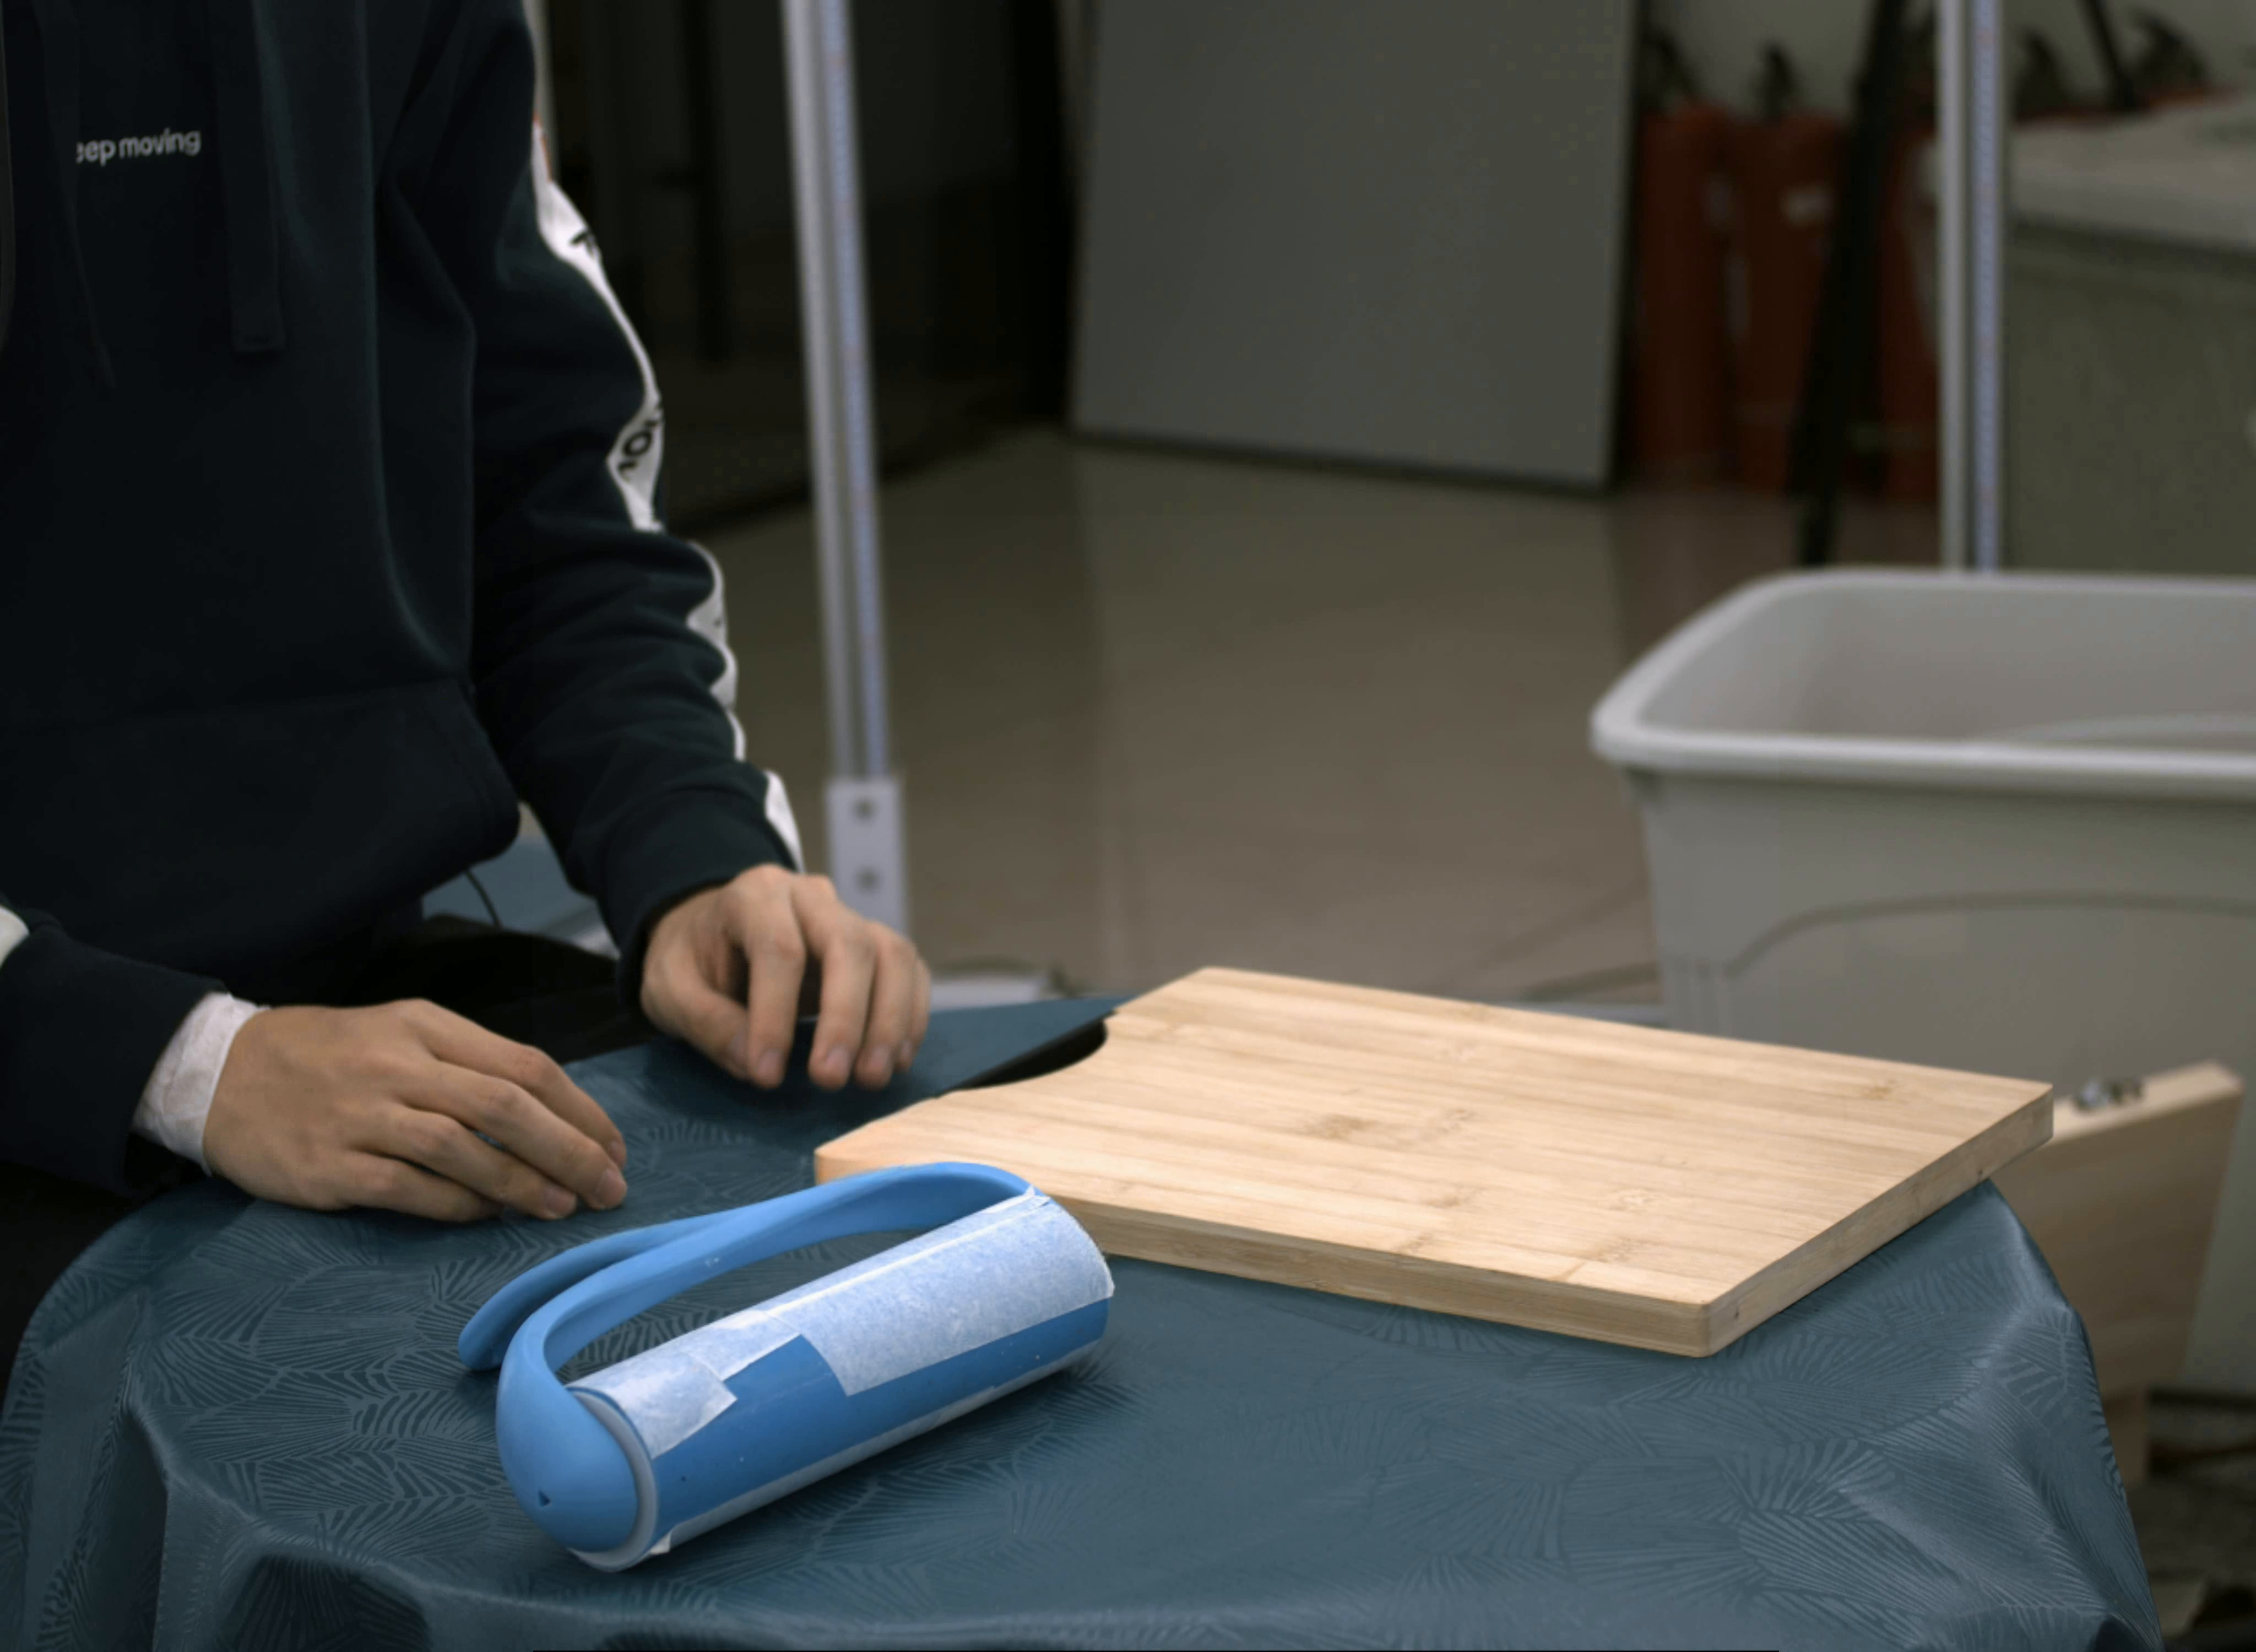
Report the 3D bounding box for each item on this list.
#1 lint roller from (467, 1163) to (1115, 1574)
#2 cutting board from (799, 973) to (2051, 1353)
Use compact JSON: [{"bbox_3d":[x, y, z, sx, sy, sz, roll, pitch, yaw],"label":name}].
[{"bbox_3d":[-0.130,0.149,1.576,0.181,0.068,0.225,8,19,38],"label":"lint roller"},{"bbox_3d":[0.097,0.106,1.773,0.351,0.024,0.246,6,17,35],"label":"cutting board"}]
